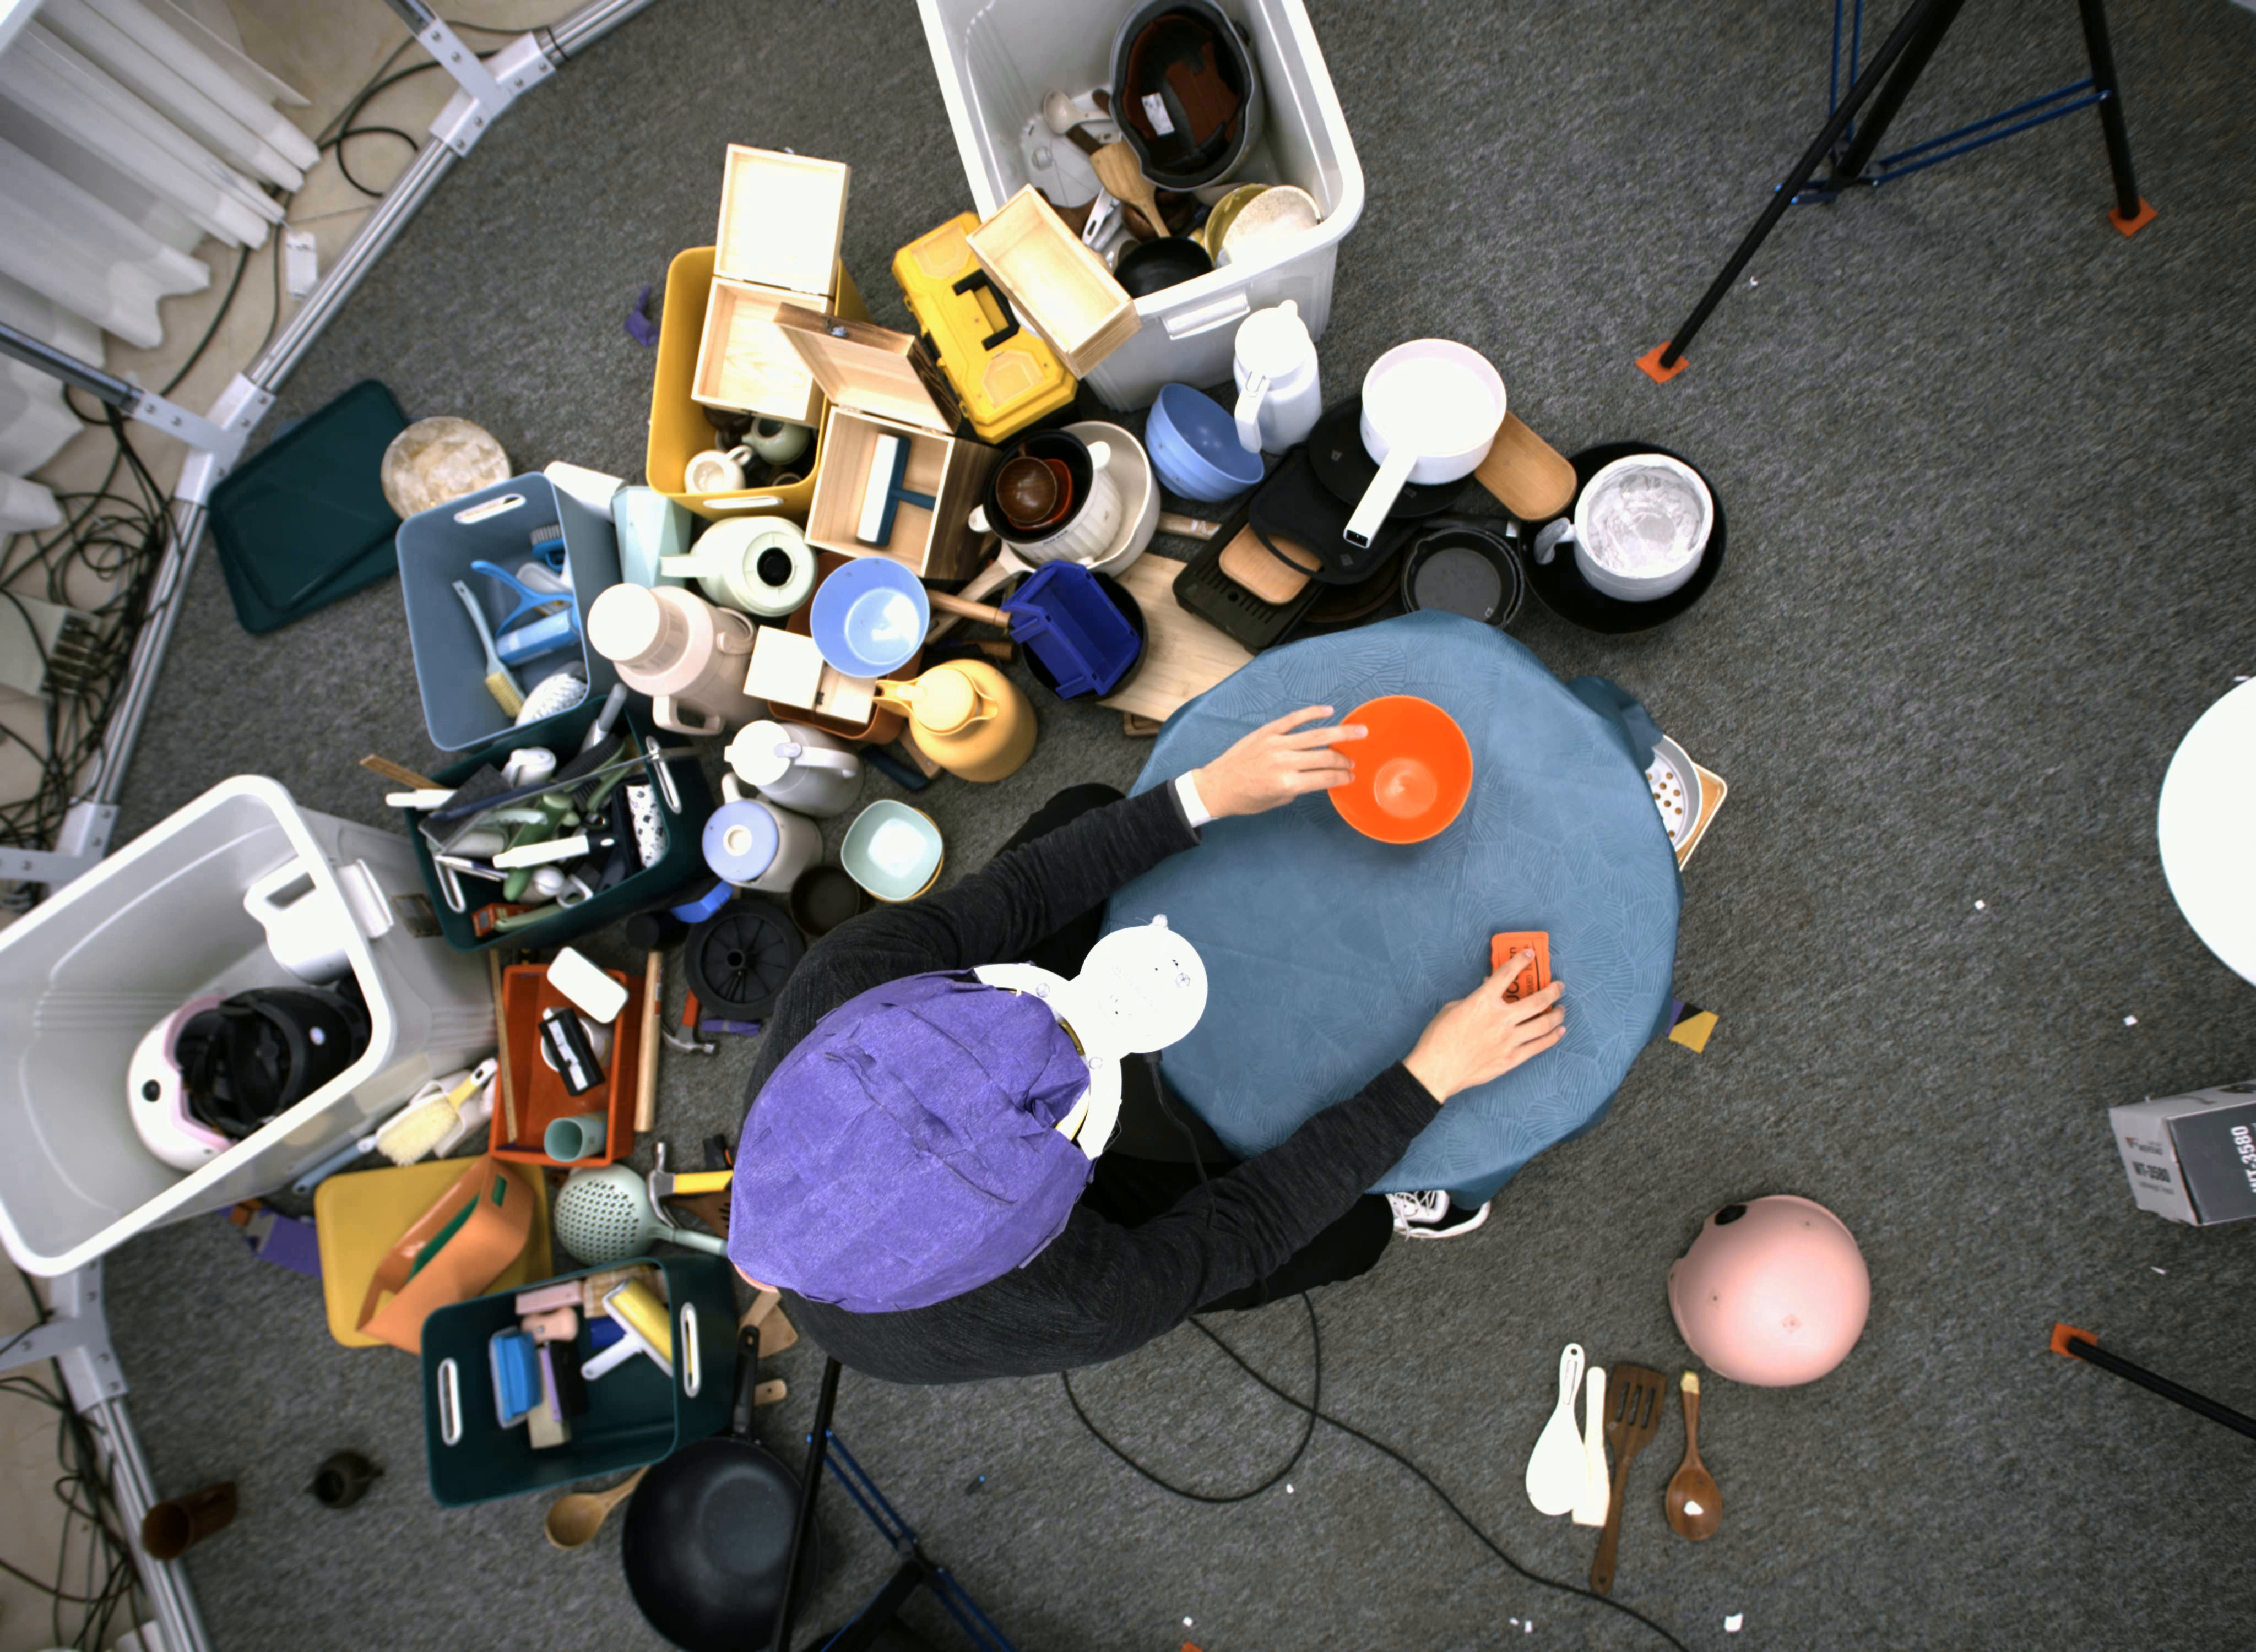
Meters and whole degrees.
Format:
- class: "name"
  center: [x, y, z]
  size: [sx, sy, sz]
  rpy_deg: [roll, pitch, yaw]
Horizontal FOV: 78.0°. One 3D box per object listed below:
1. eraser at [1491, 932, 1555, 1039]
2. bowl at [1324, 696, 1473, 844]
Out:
- class: "eraser"
  center: [0.406, 0.161, 1.413]
  size: [0.059, 0.023, 0.107]
  rpy_deg: [-3, 83, 9]
- class: "bowl"
  center: [0.279, -0.053, 1.415]
  size: [0.148, 0.105, 0.147]
  rpy_deg: [-1, 85, 11]
